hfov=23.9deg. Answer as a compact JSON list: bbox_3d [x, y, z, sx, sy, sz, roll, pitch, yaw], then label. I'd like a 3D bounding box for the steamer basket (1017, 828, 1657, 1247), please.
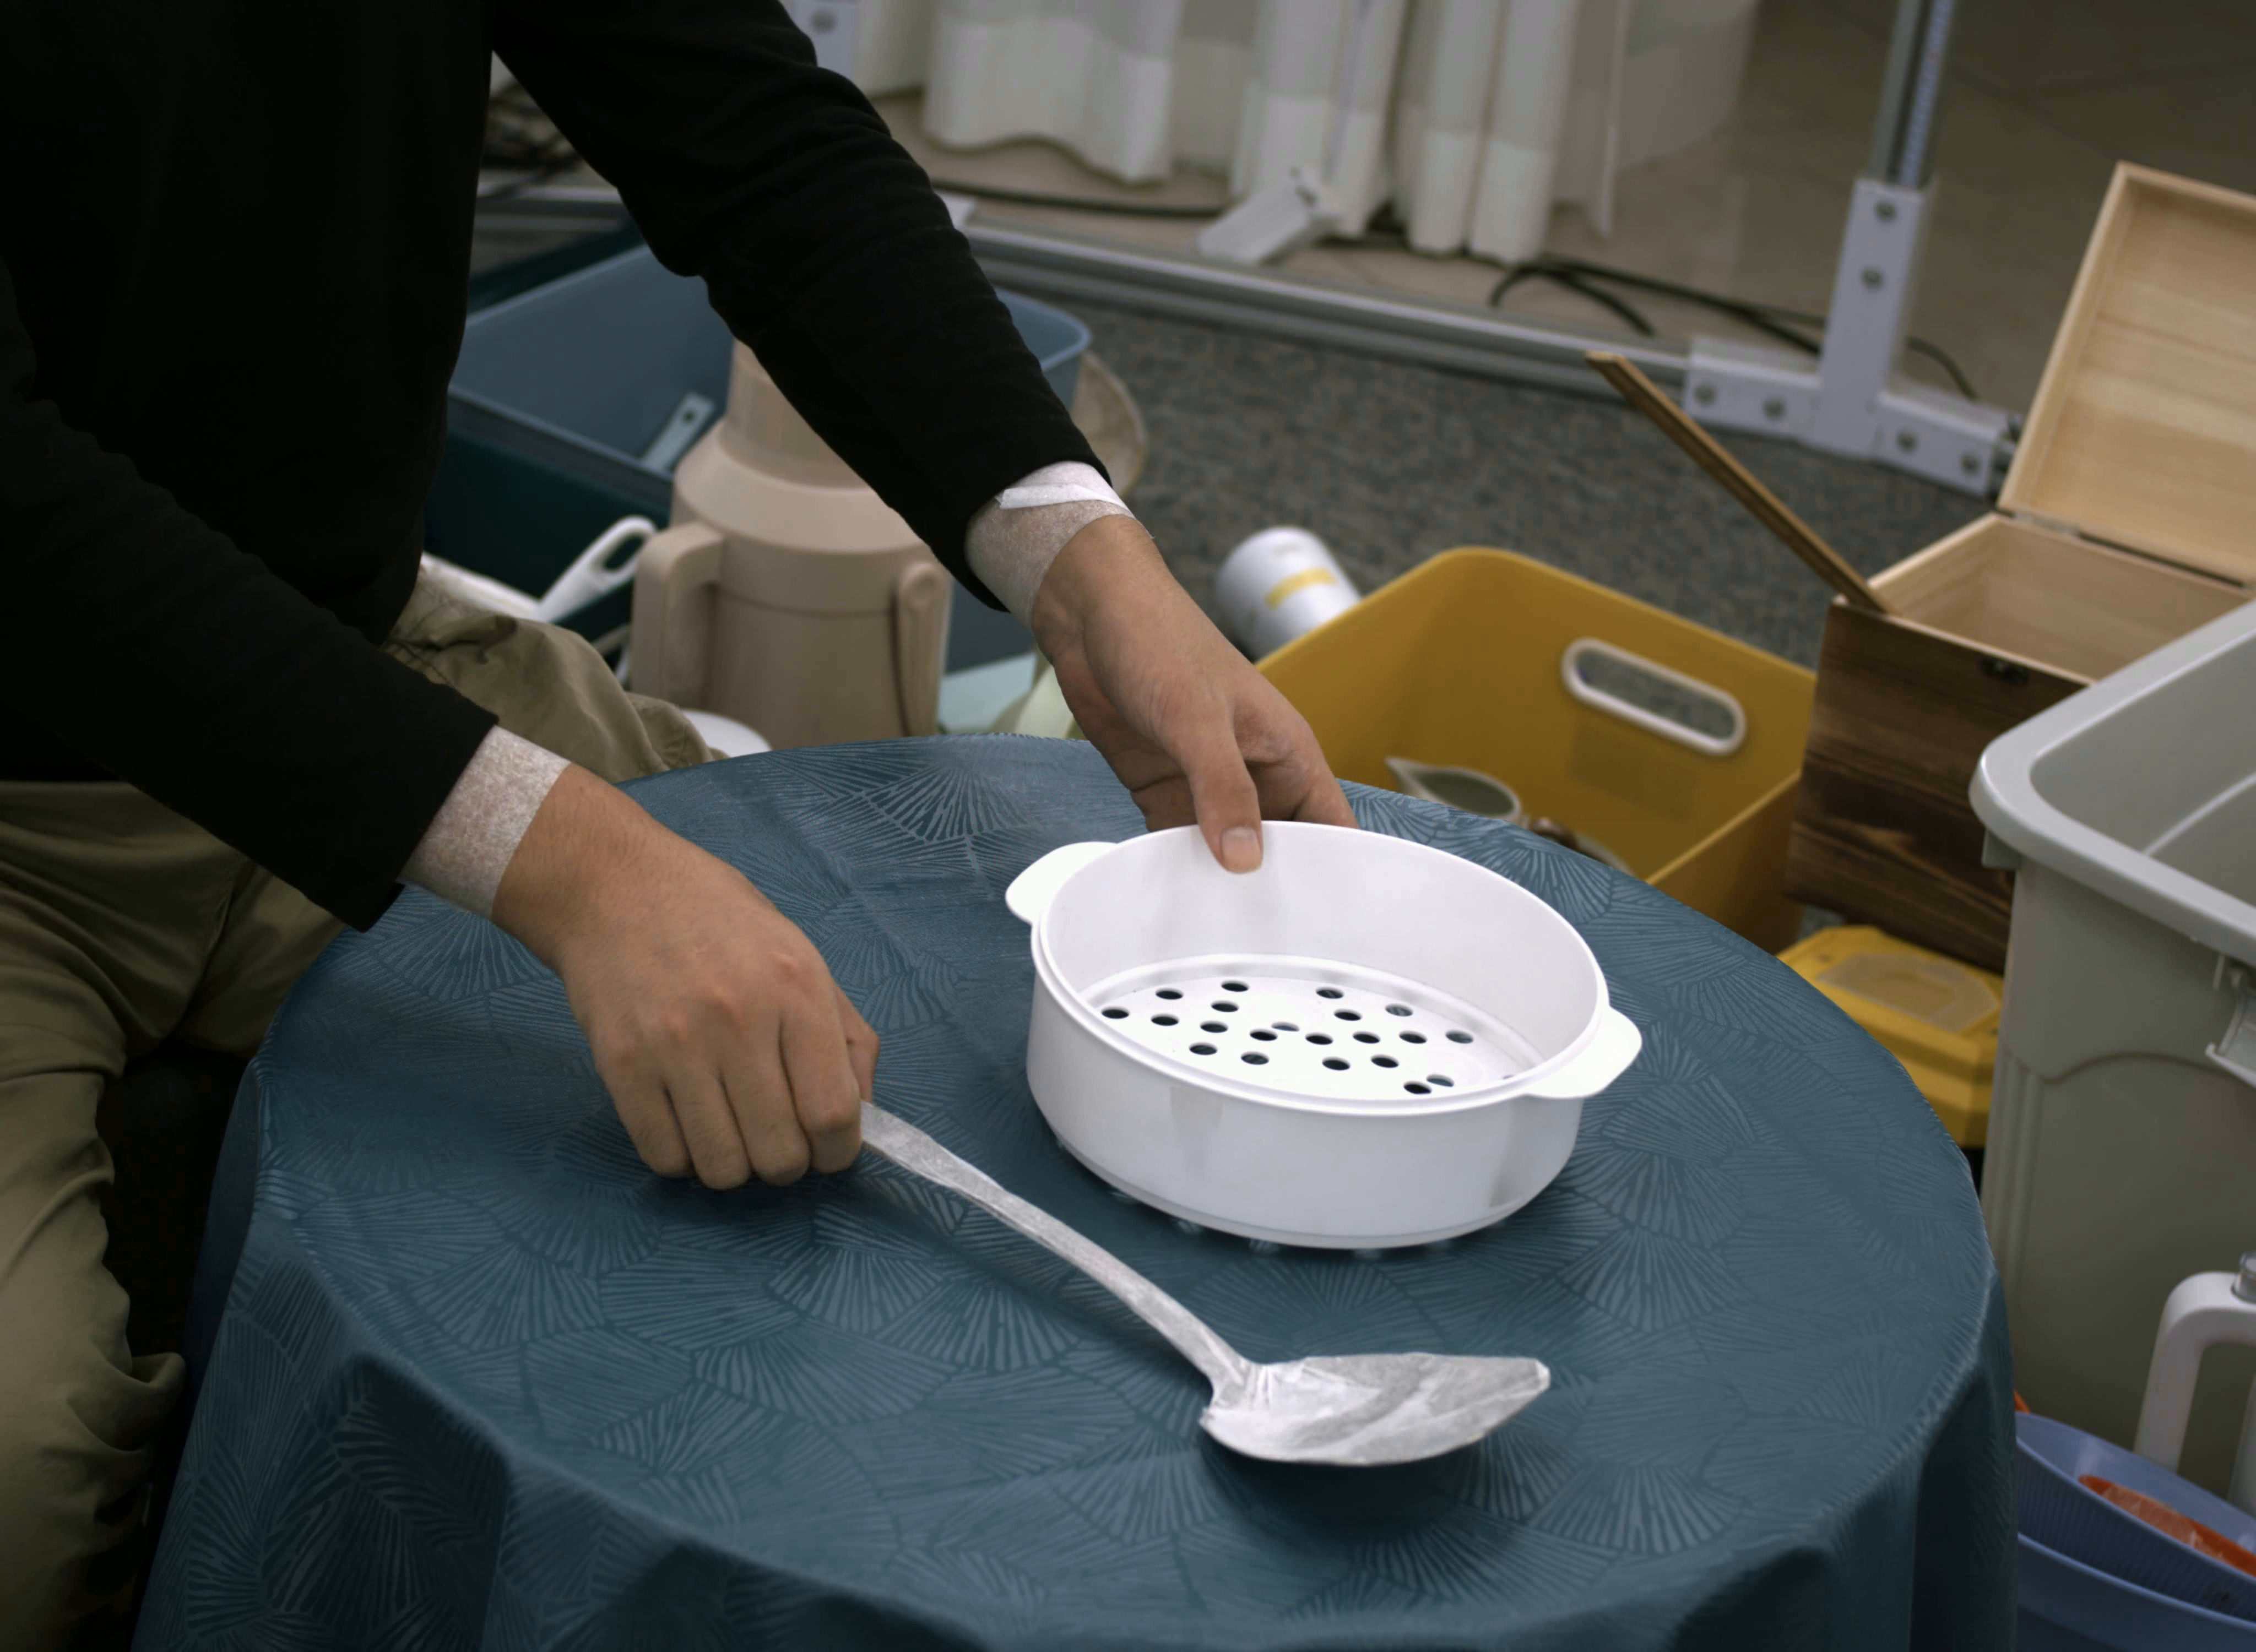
[{"bbox_3d":[0.068,0.073,1.839,0.231,0.069,0.201,18,28,23],"label":"steamer basket"}]

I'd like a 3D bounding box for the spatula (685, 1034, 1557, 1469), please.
[{"bbox_3d":[-0.023,0.130,1.738,0.367,0.044,0.098,28,35,34],"label":"spatula"}]
